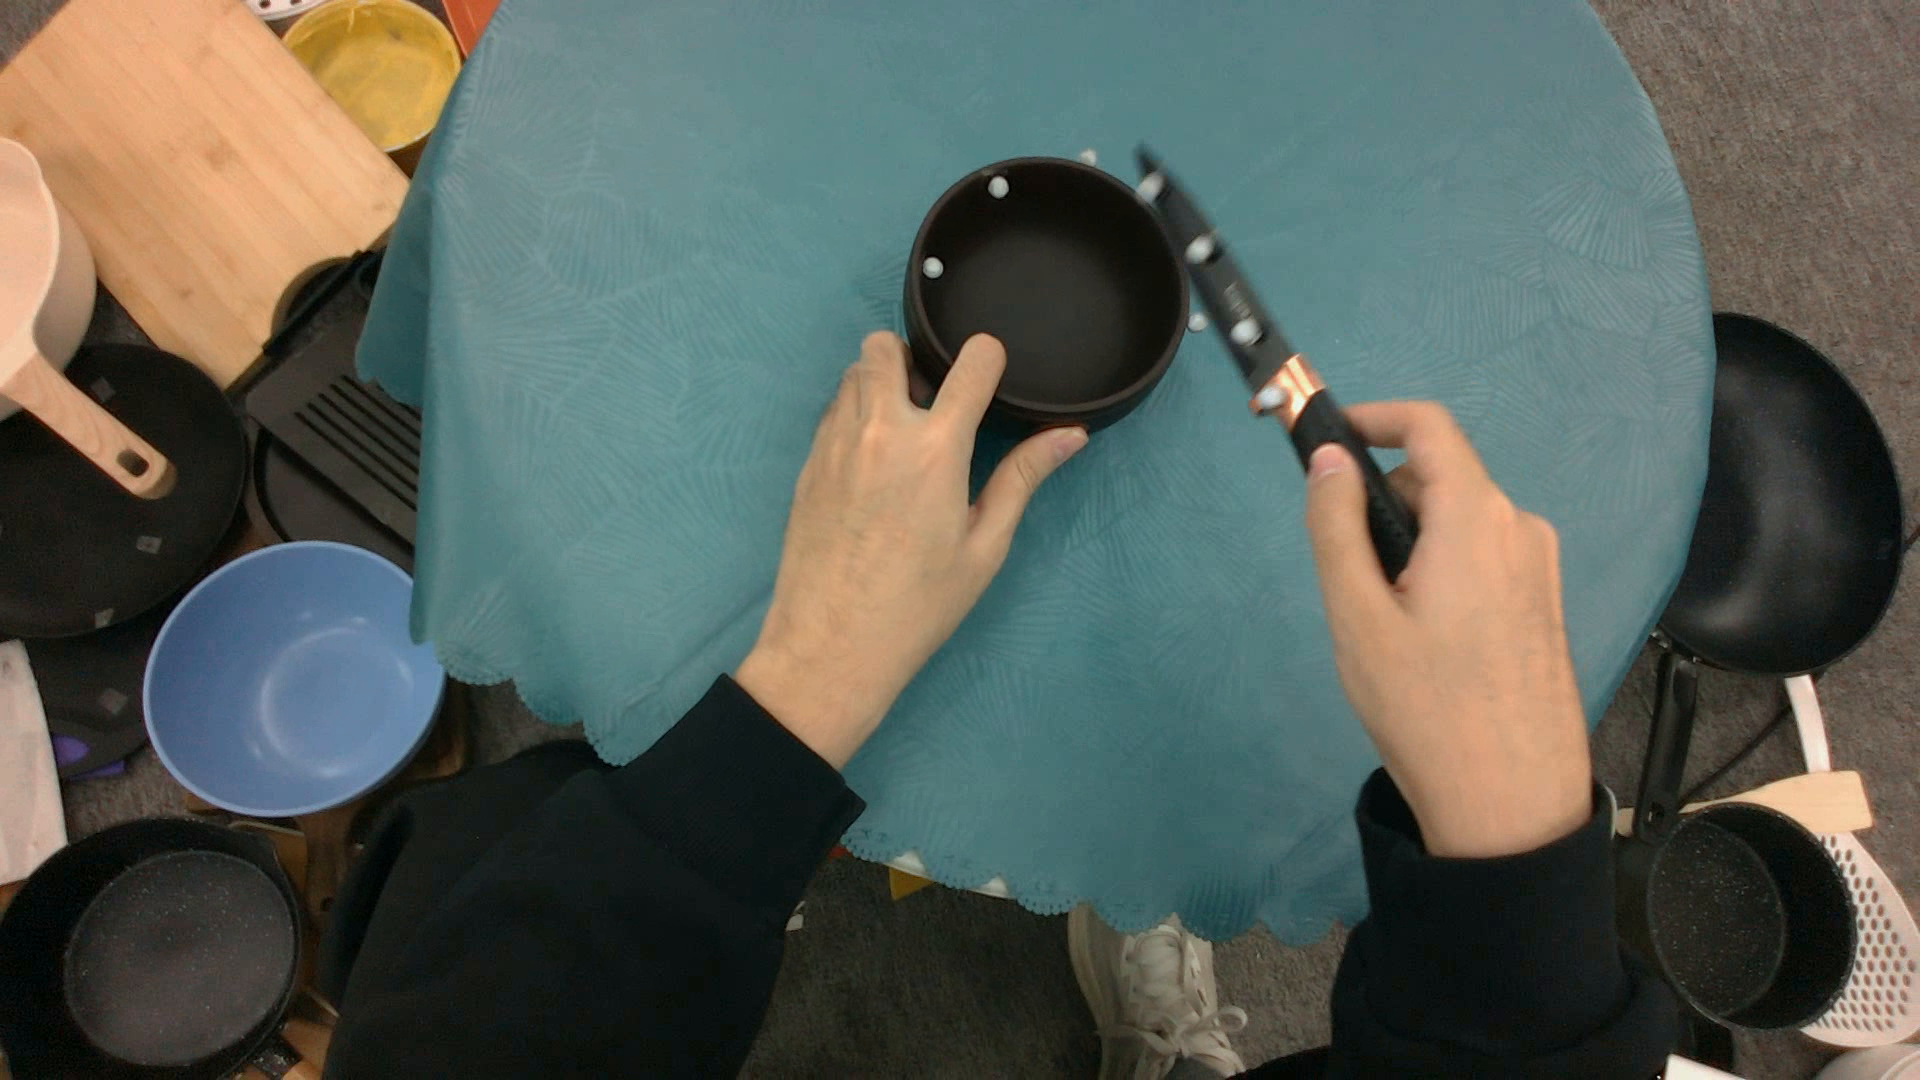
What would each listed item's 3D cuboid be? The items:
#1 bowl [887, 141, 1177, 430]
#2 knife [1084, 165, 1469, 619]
[{"bbox_3d":[0.027,-0.101,0.583,0.118,0.069,0.118,2,75,-5],"label":"bowl"},{"bbox_3d":[0.105,-0.063,0.488,0.017,0.026,0.226,-10,57,-37],"label":"knife"}]
